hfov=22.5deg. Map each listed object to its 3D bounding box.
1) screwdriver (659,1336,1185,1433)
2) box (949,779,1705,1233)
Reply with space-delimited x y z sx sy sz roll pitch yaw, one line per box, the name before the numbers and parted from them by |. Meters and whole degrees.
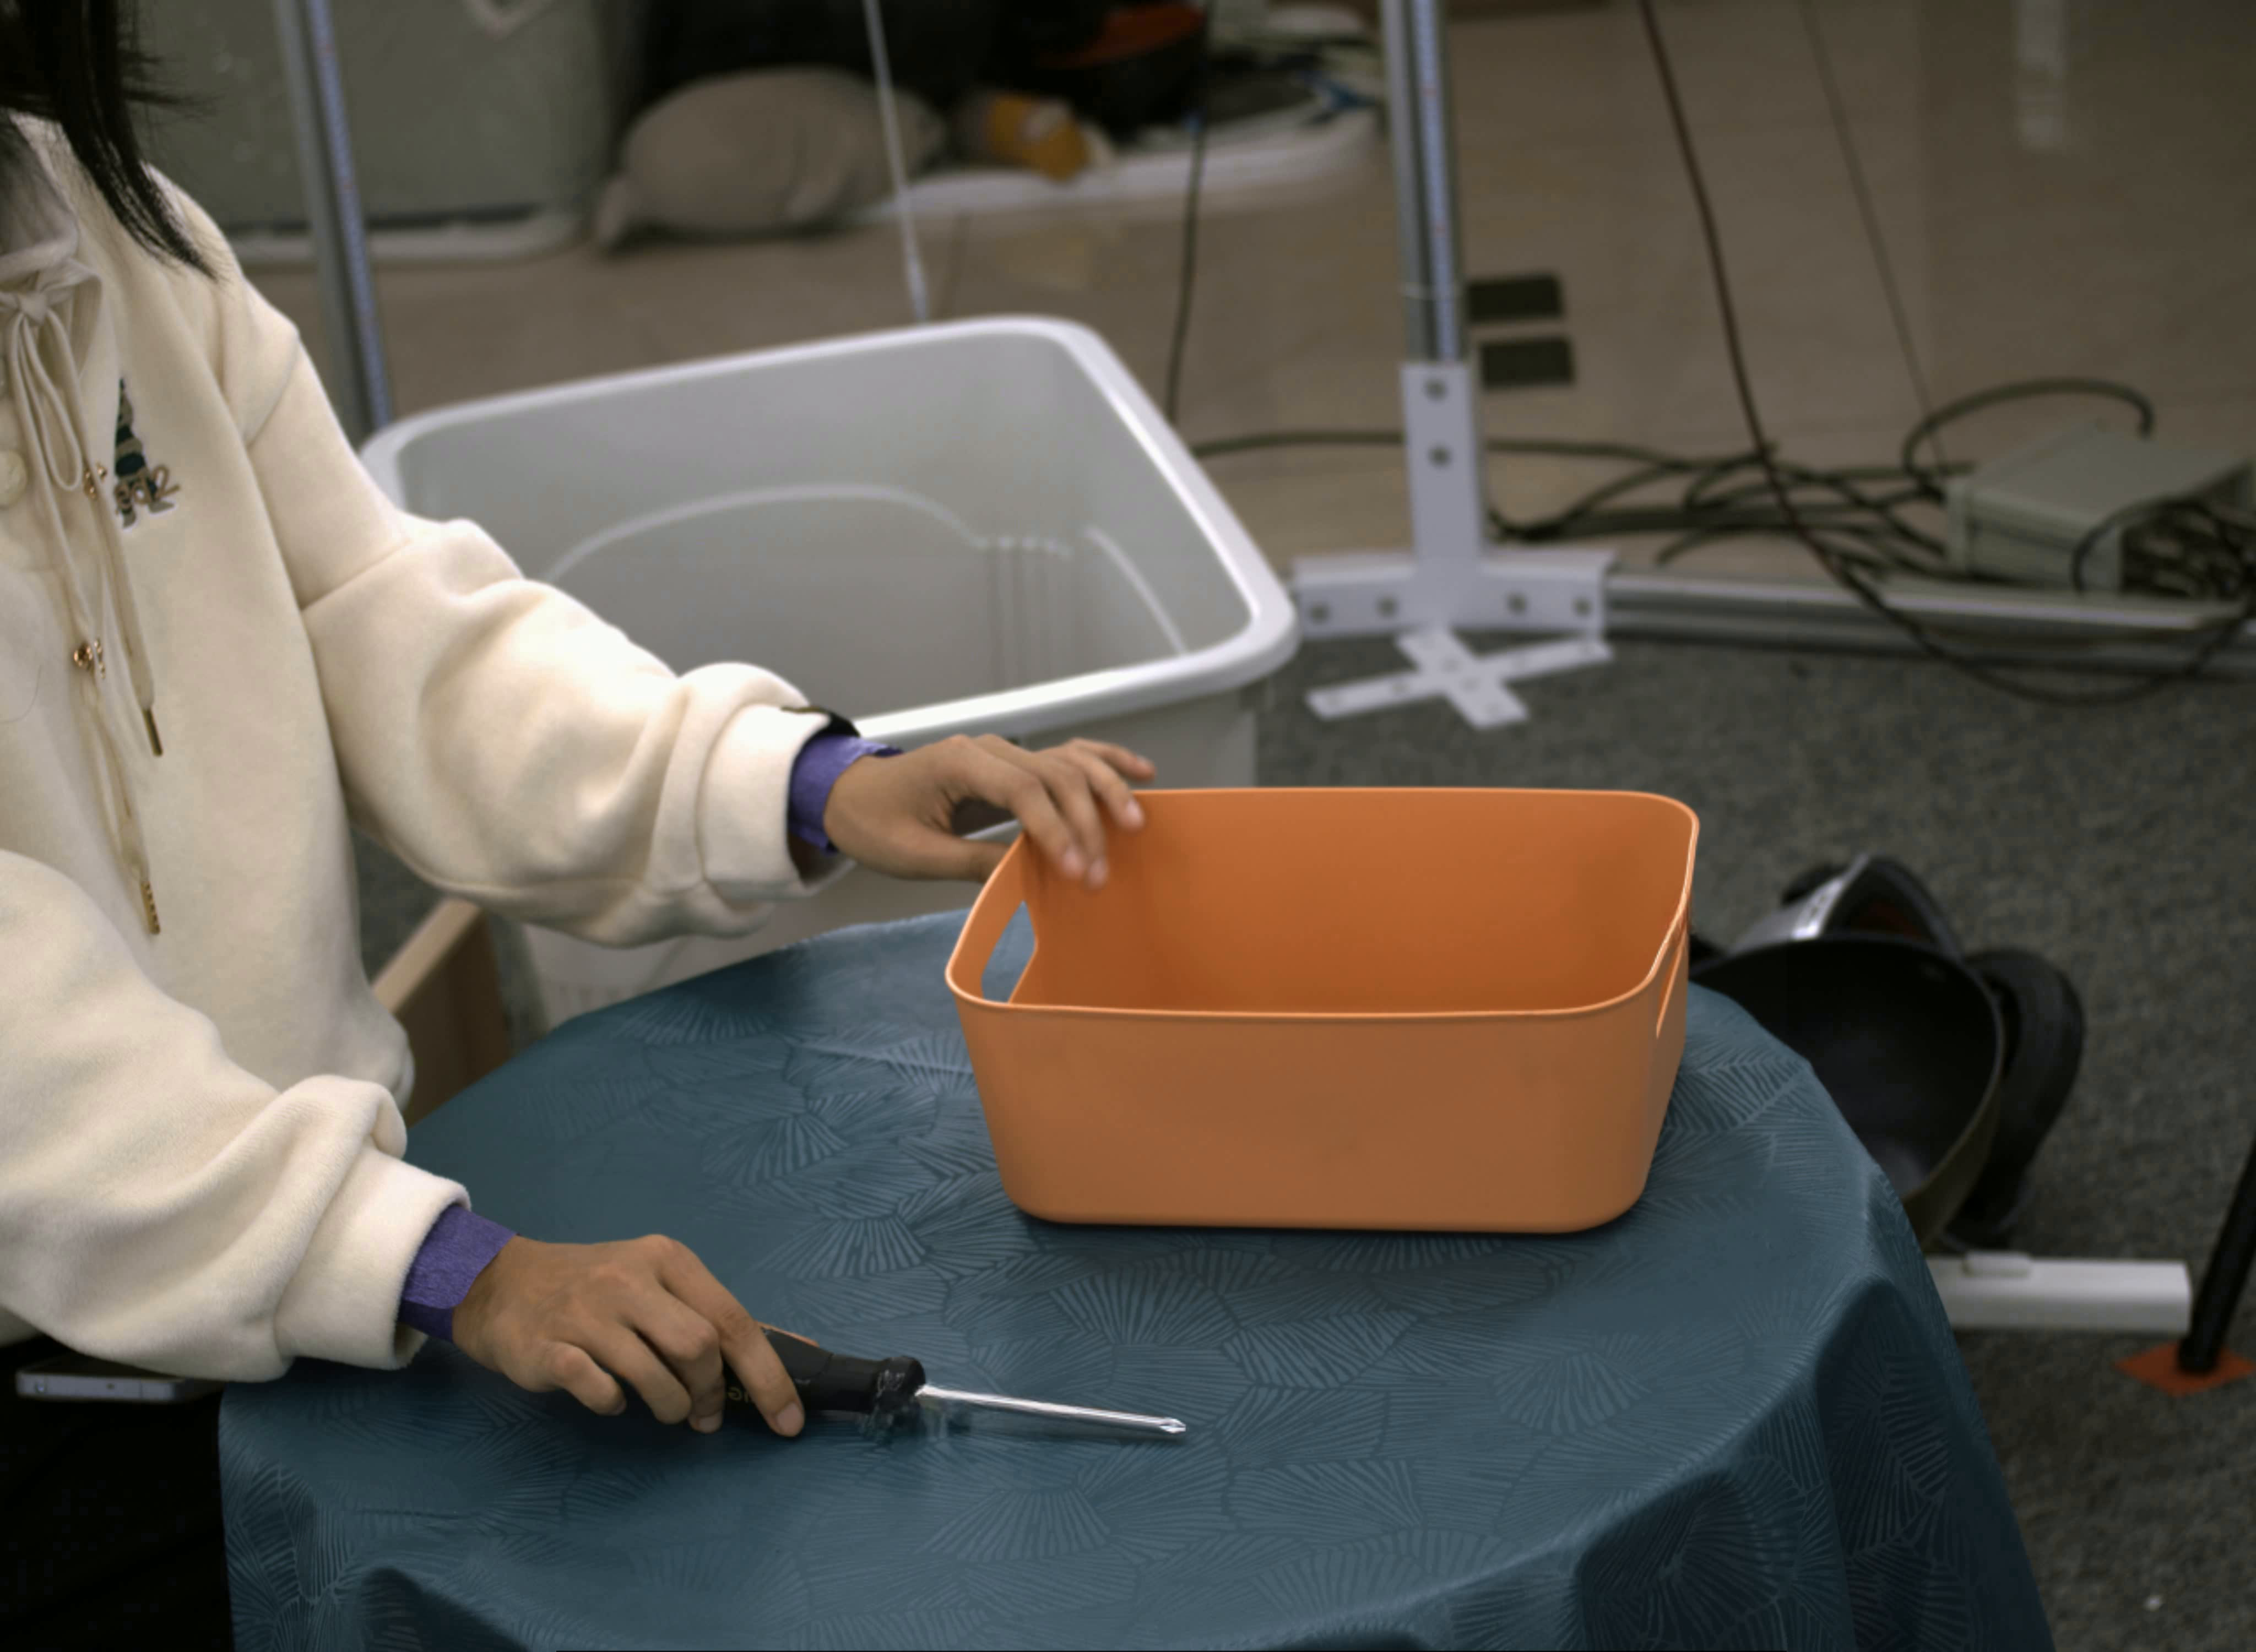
screwdriver | -0.074 0.205 2.005 0.195 0.032 0.031 7 28 19
box | 0.081 0.069 2.152 0.272 0.104 0.196 1 27 14
